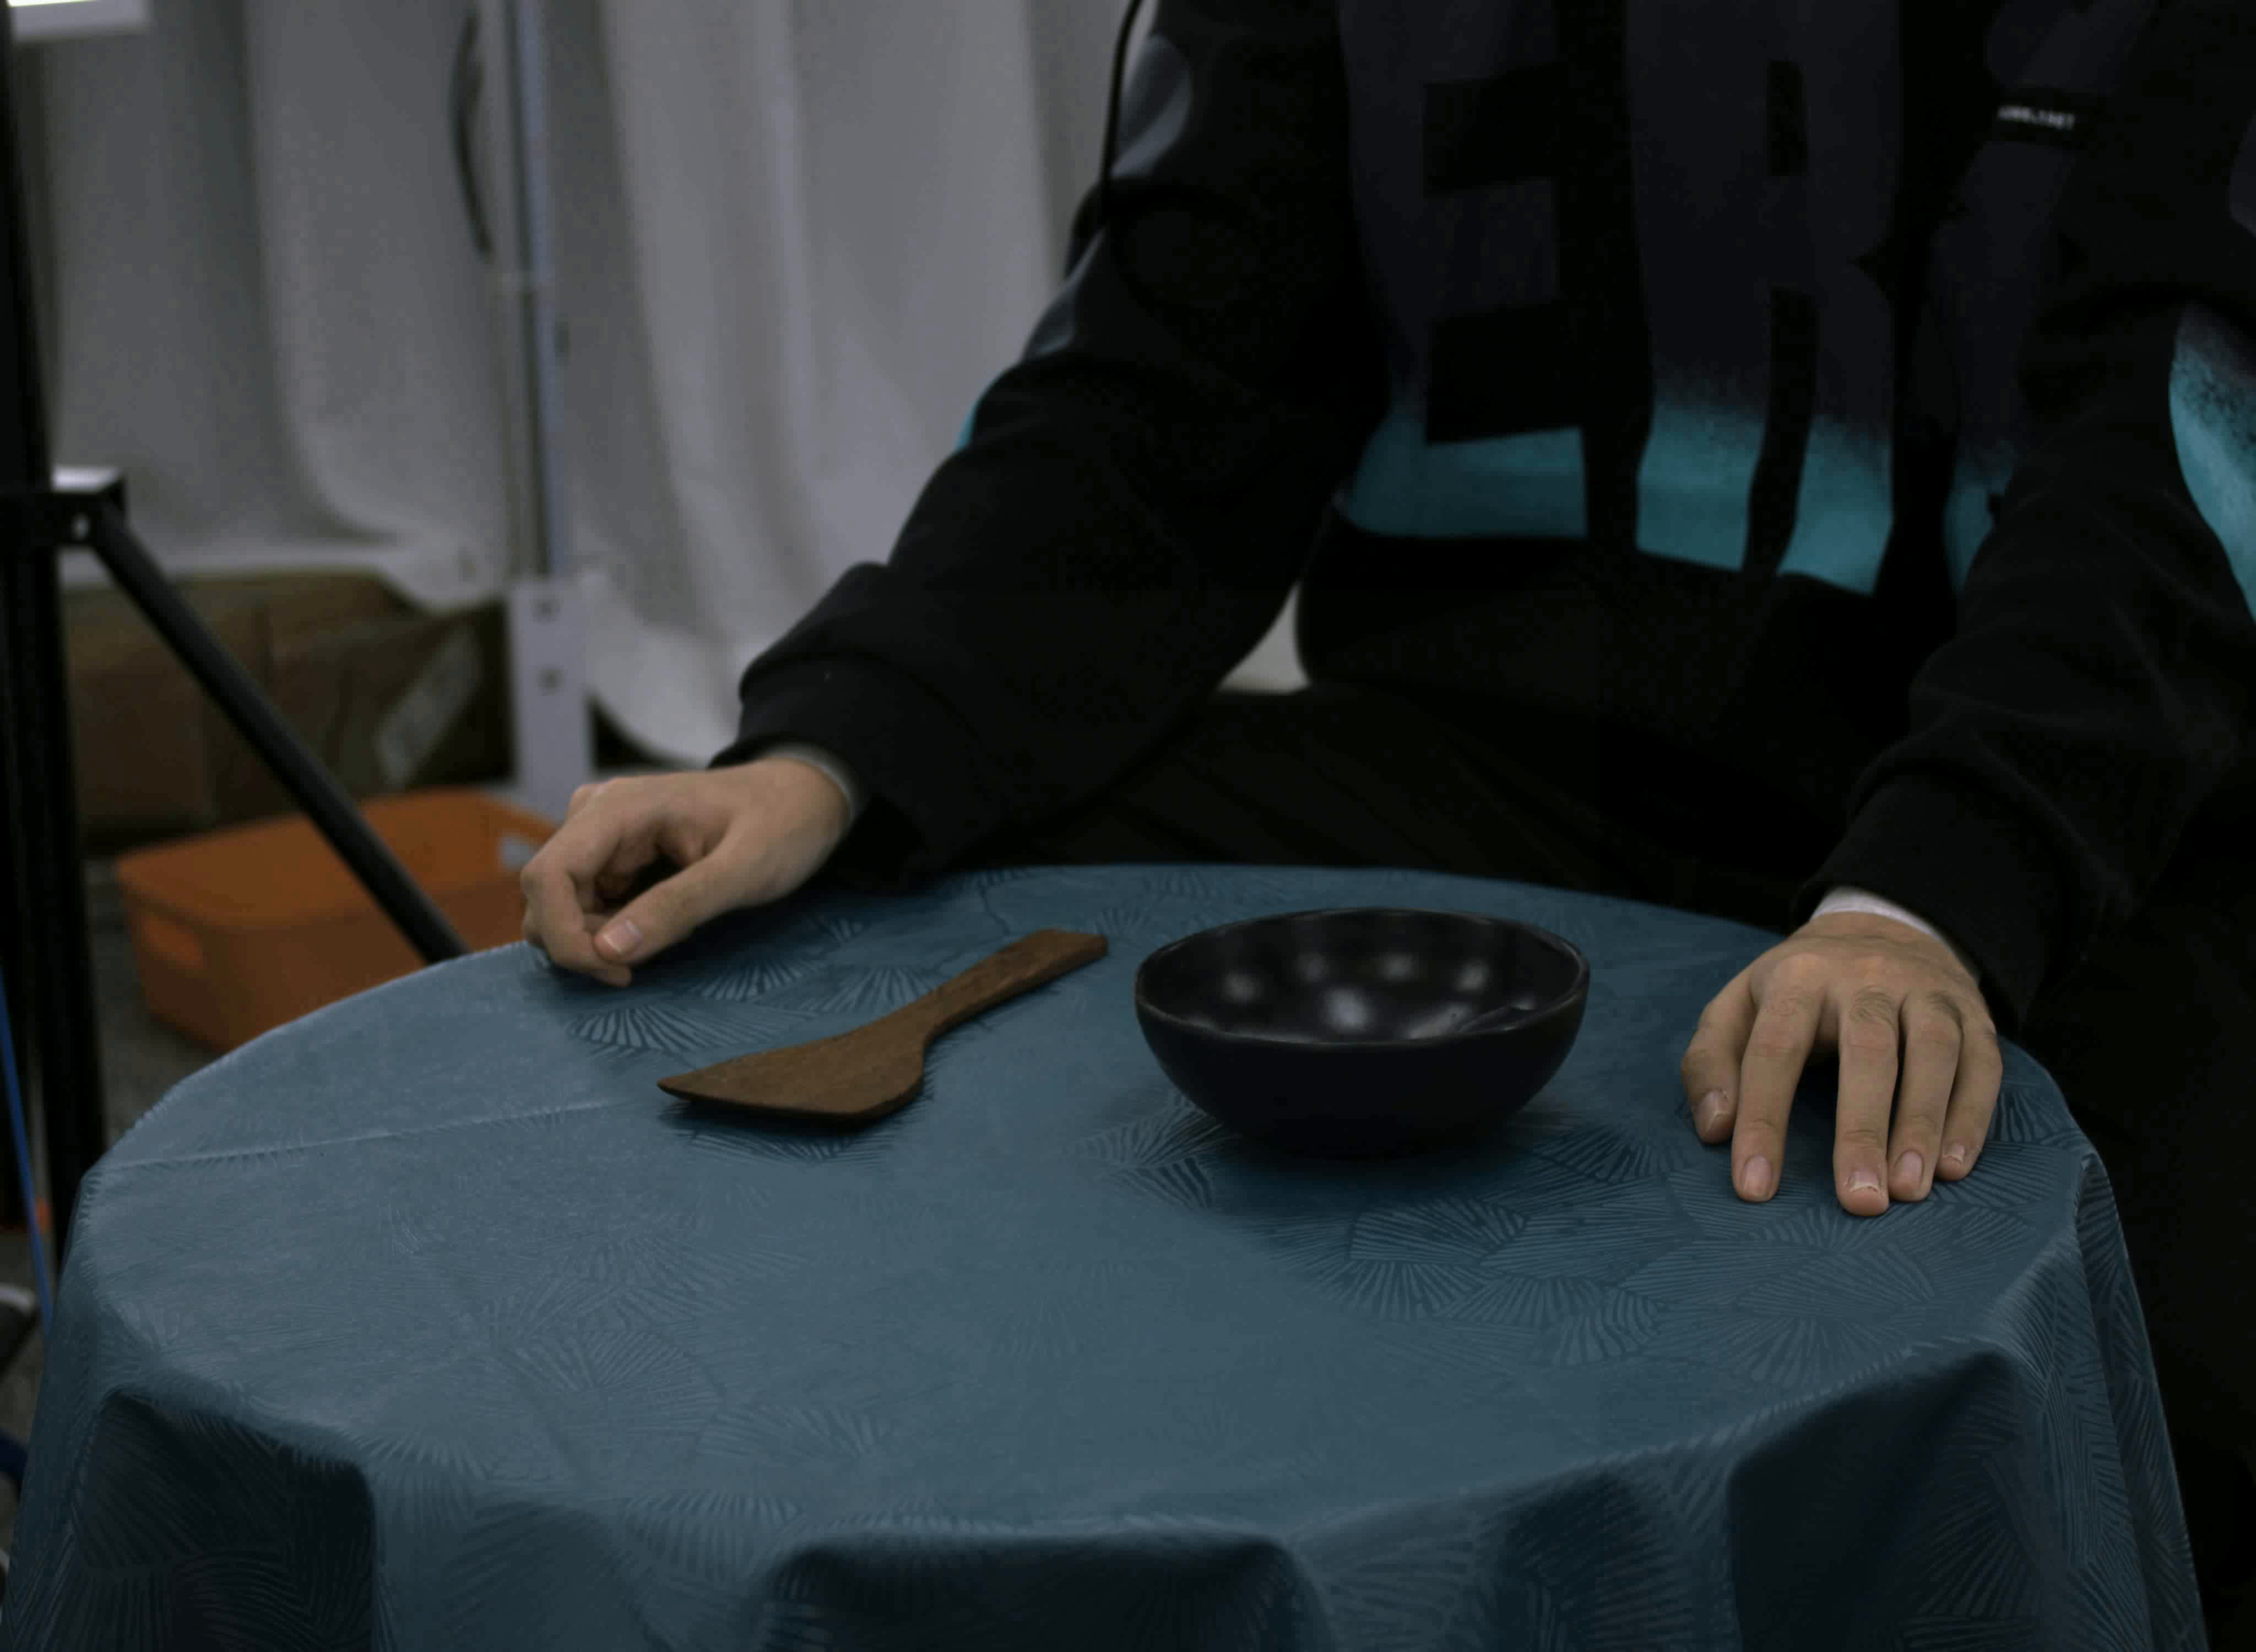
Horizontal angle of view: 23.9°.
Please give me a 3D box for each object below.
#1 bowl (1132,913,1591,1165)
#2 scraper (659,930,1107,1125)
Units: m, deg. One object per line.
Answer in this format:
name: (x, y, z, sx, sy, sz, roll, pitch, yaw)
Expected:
bowl: (0.072, 0.069, 1.599, 0.139, 0.050, 0.140, -5, 14, 0)
scraper: (-0.067, 0.063, 1.713, 0.077, 0.011, 0.207, 8, 18, 29)
